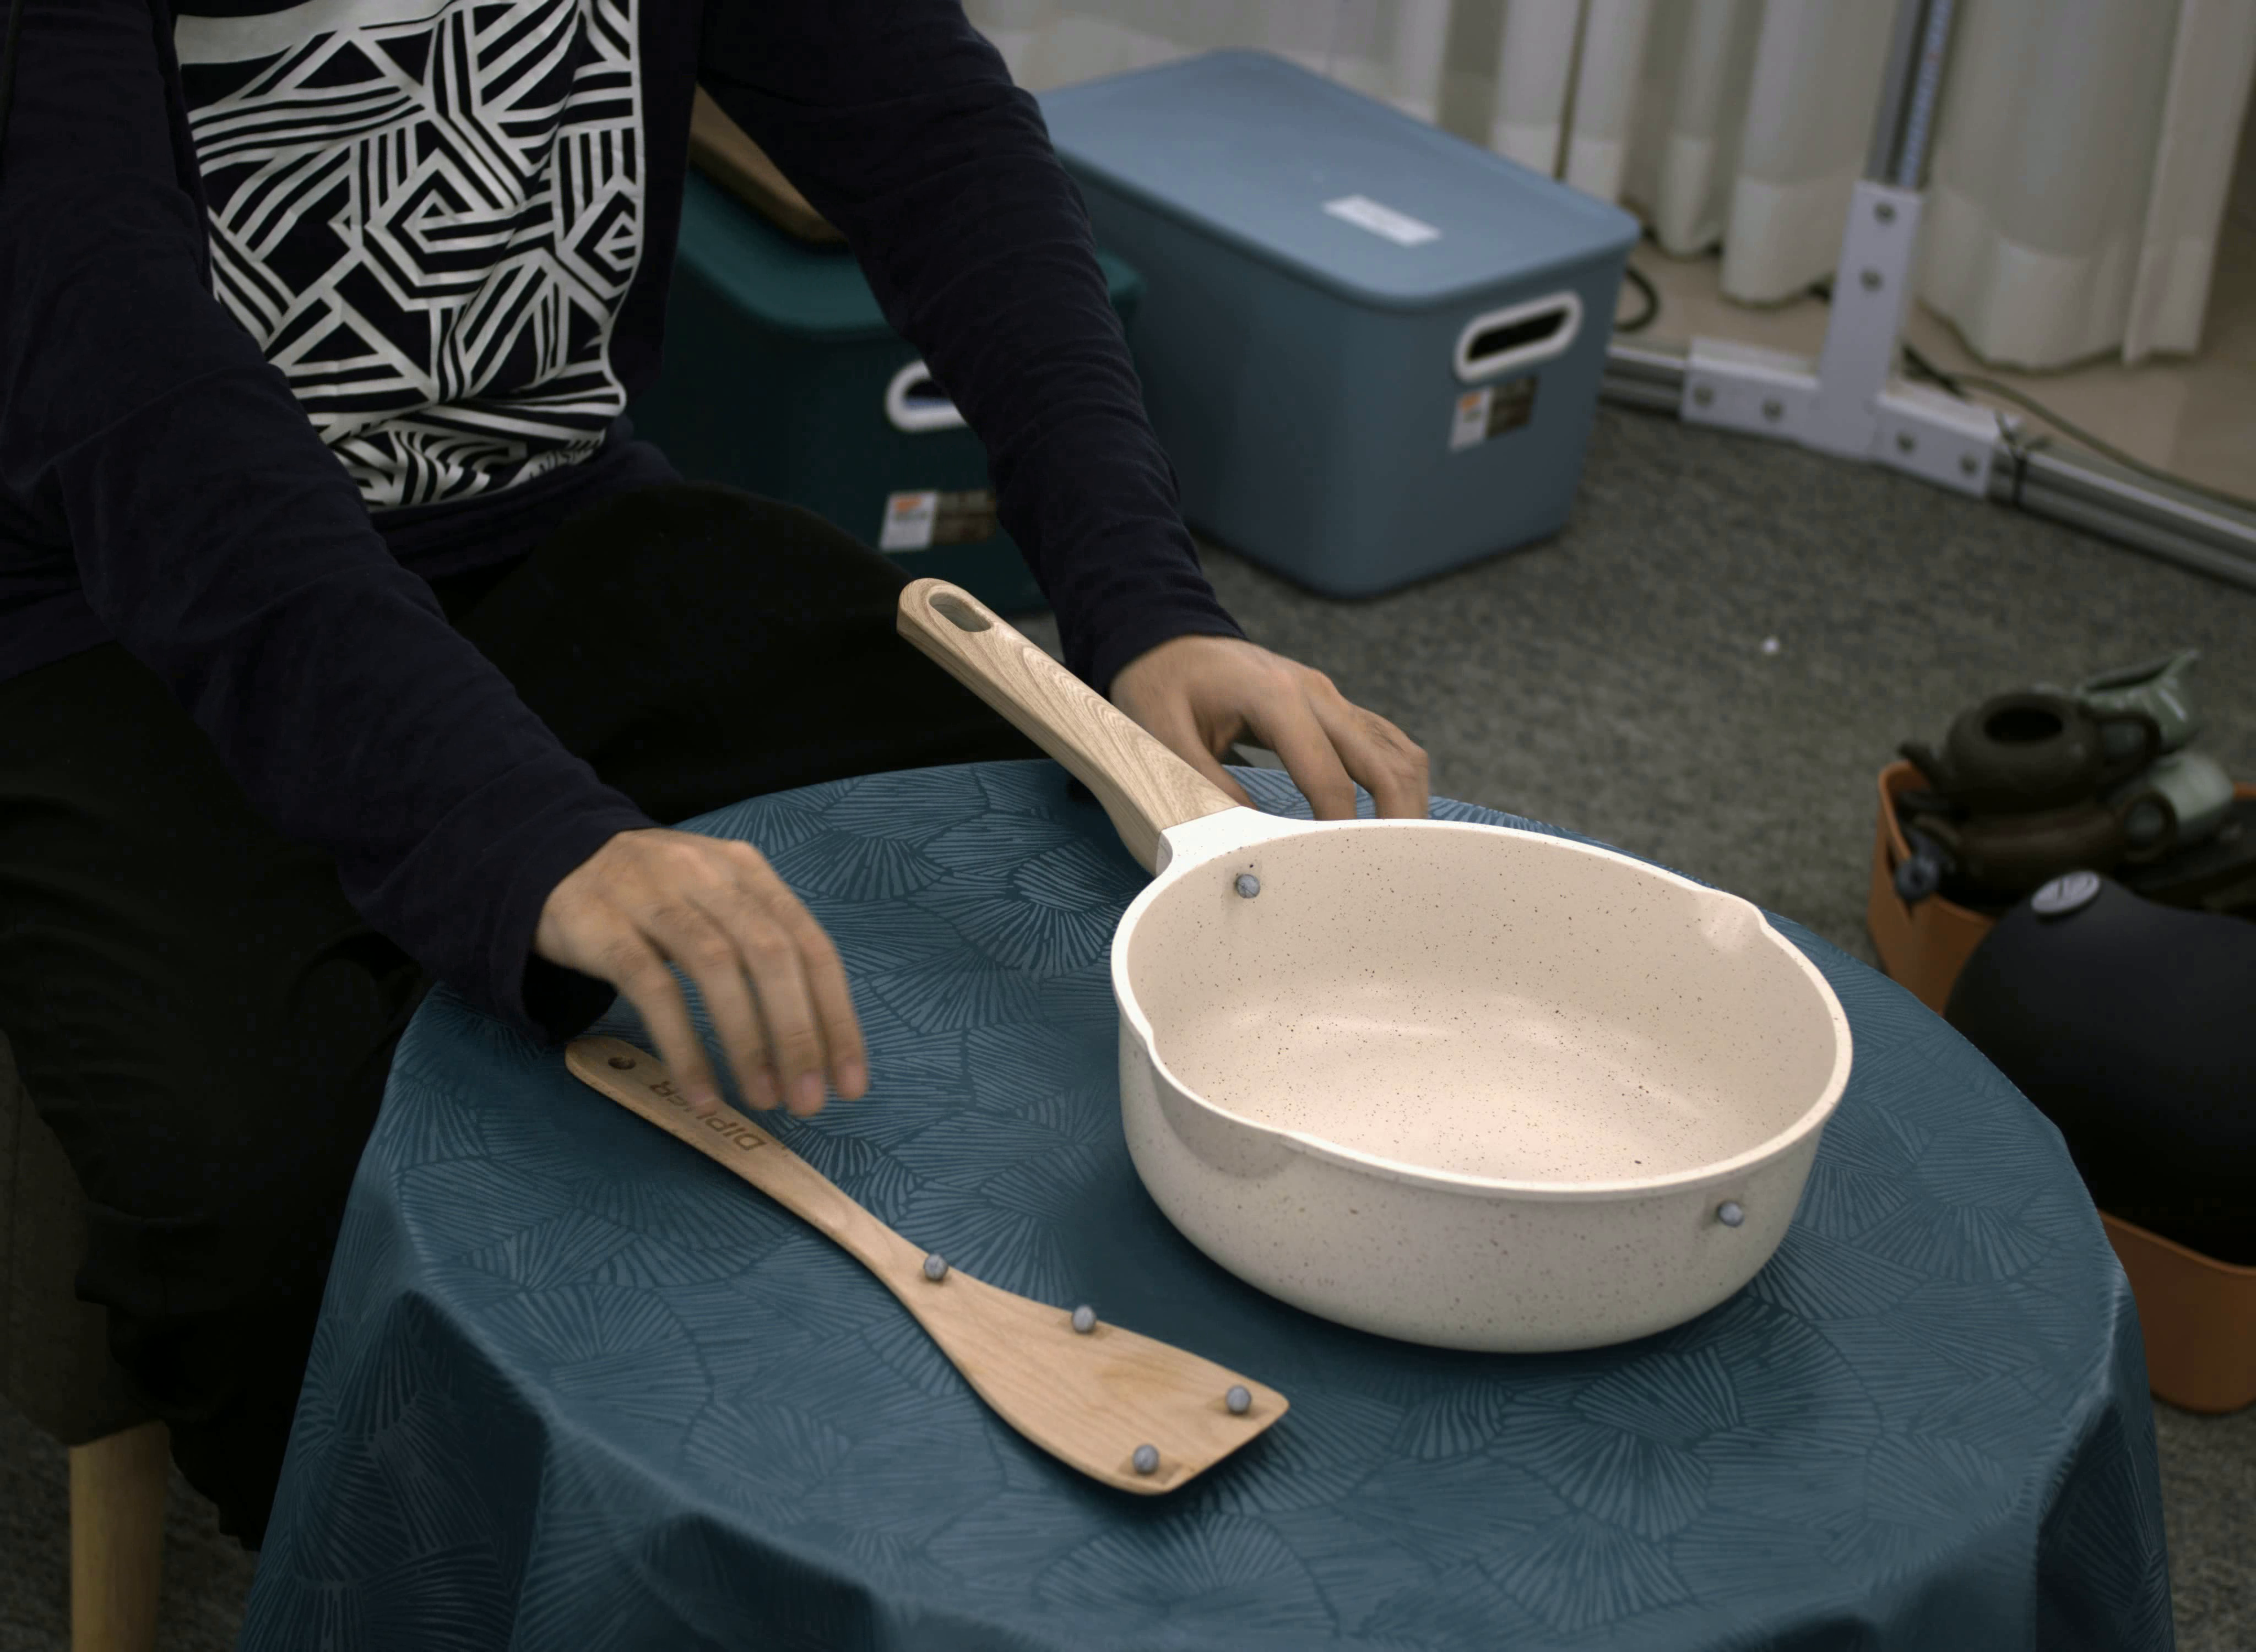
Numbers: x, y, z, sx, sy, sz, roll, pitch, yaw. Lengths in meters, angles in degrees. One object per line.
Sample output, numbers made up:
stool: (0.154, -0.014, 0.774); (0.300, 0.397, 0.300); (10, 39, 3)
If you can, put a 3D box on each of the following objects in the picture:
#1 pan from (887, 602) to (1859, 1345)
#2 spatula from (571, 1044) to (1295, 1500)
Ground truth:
pan: (0.058, 0.047, 1.869); (0.262, 0.101, 0.438); (-18, 35, -38)
spatula: (-0.076, 0.139, 1.751); (0.079, 0.016, 0.330); (-19, 36, -40)
